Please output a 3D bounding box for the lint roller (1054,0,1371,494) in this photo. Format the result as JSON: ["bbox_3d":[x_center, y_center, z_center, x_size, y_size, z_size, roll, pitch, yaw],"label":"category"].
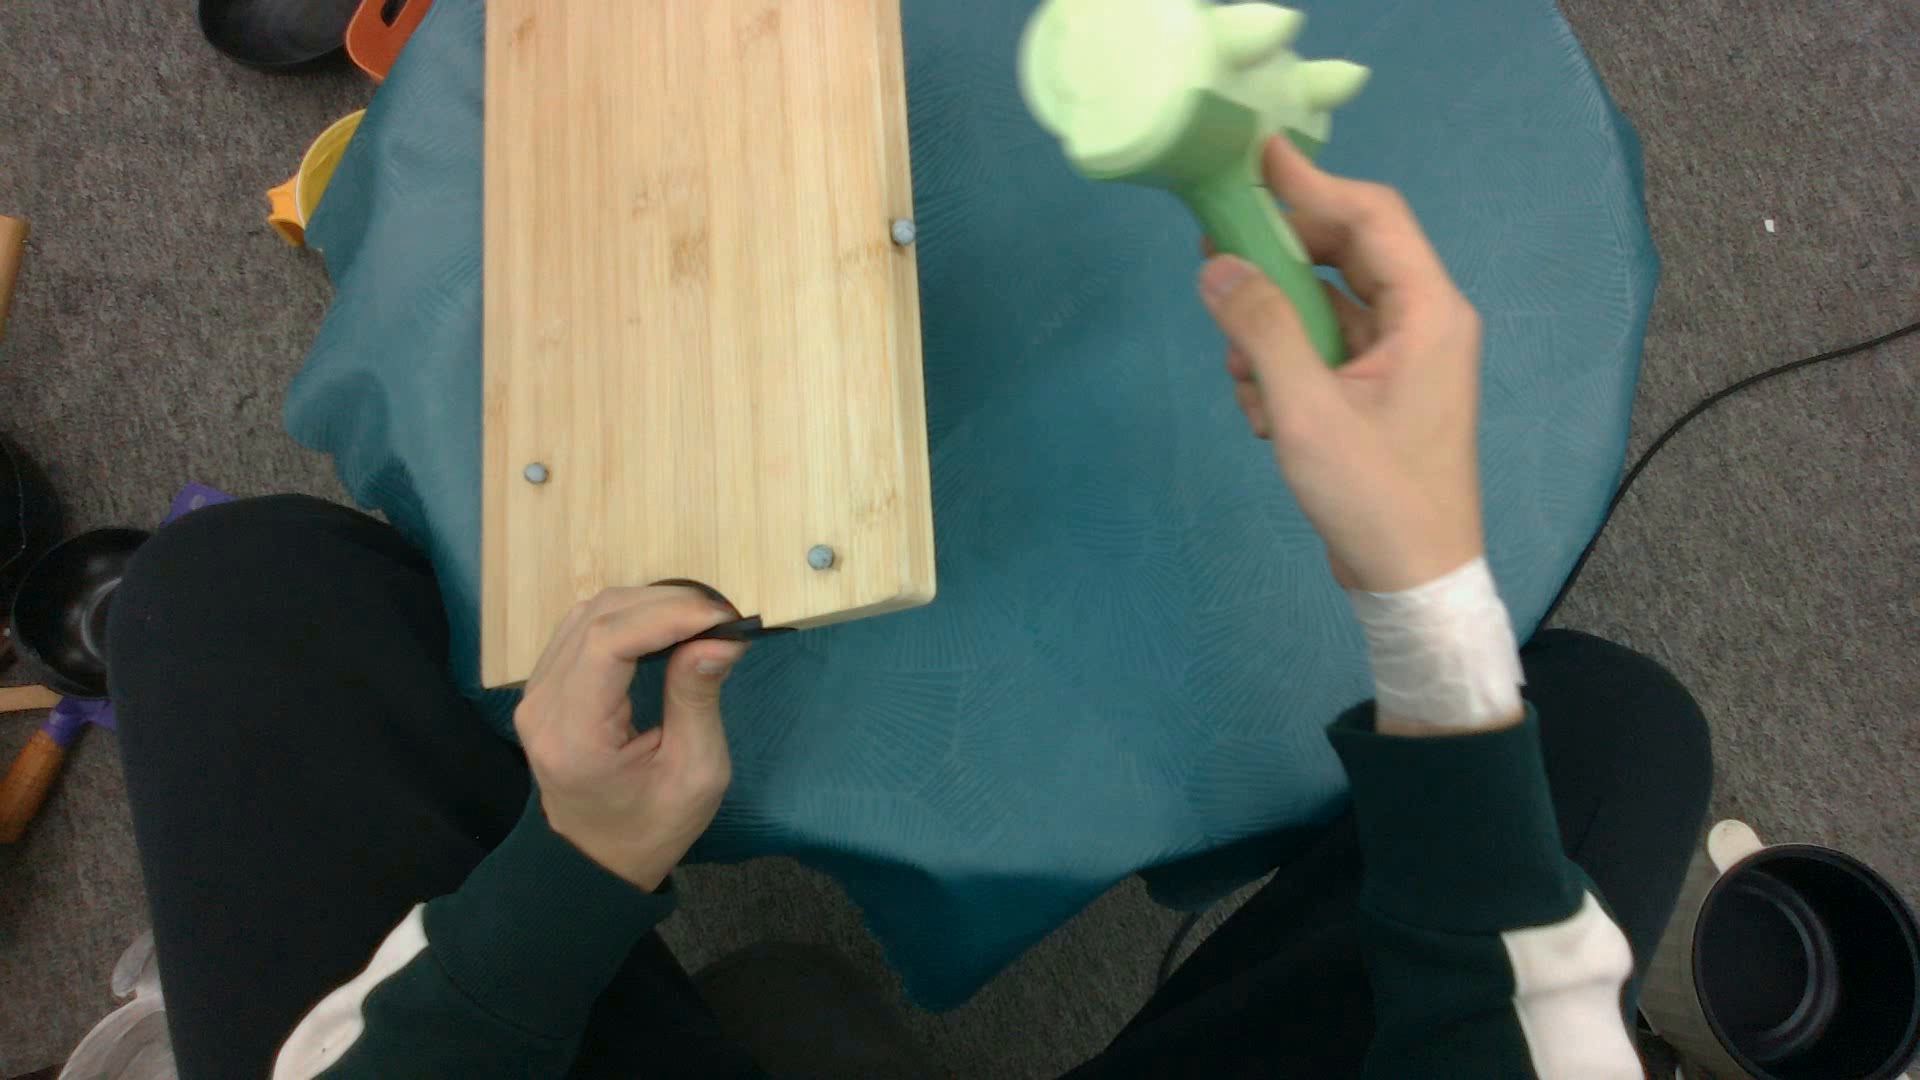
[{"bbox_3d":[0.117,-0.111,0.469,0.082,0.199,0.183,-29,88,25],"label":"lint roller"}]

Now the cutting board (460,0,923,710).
[{"bbox_3d":[-0.122,-0.121,0.542,0.250,0.023,0.349,-16,74,38],"label":"cutting board"}]
